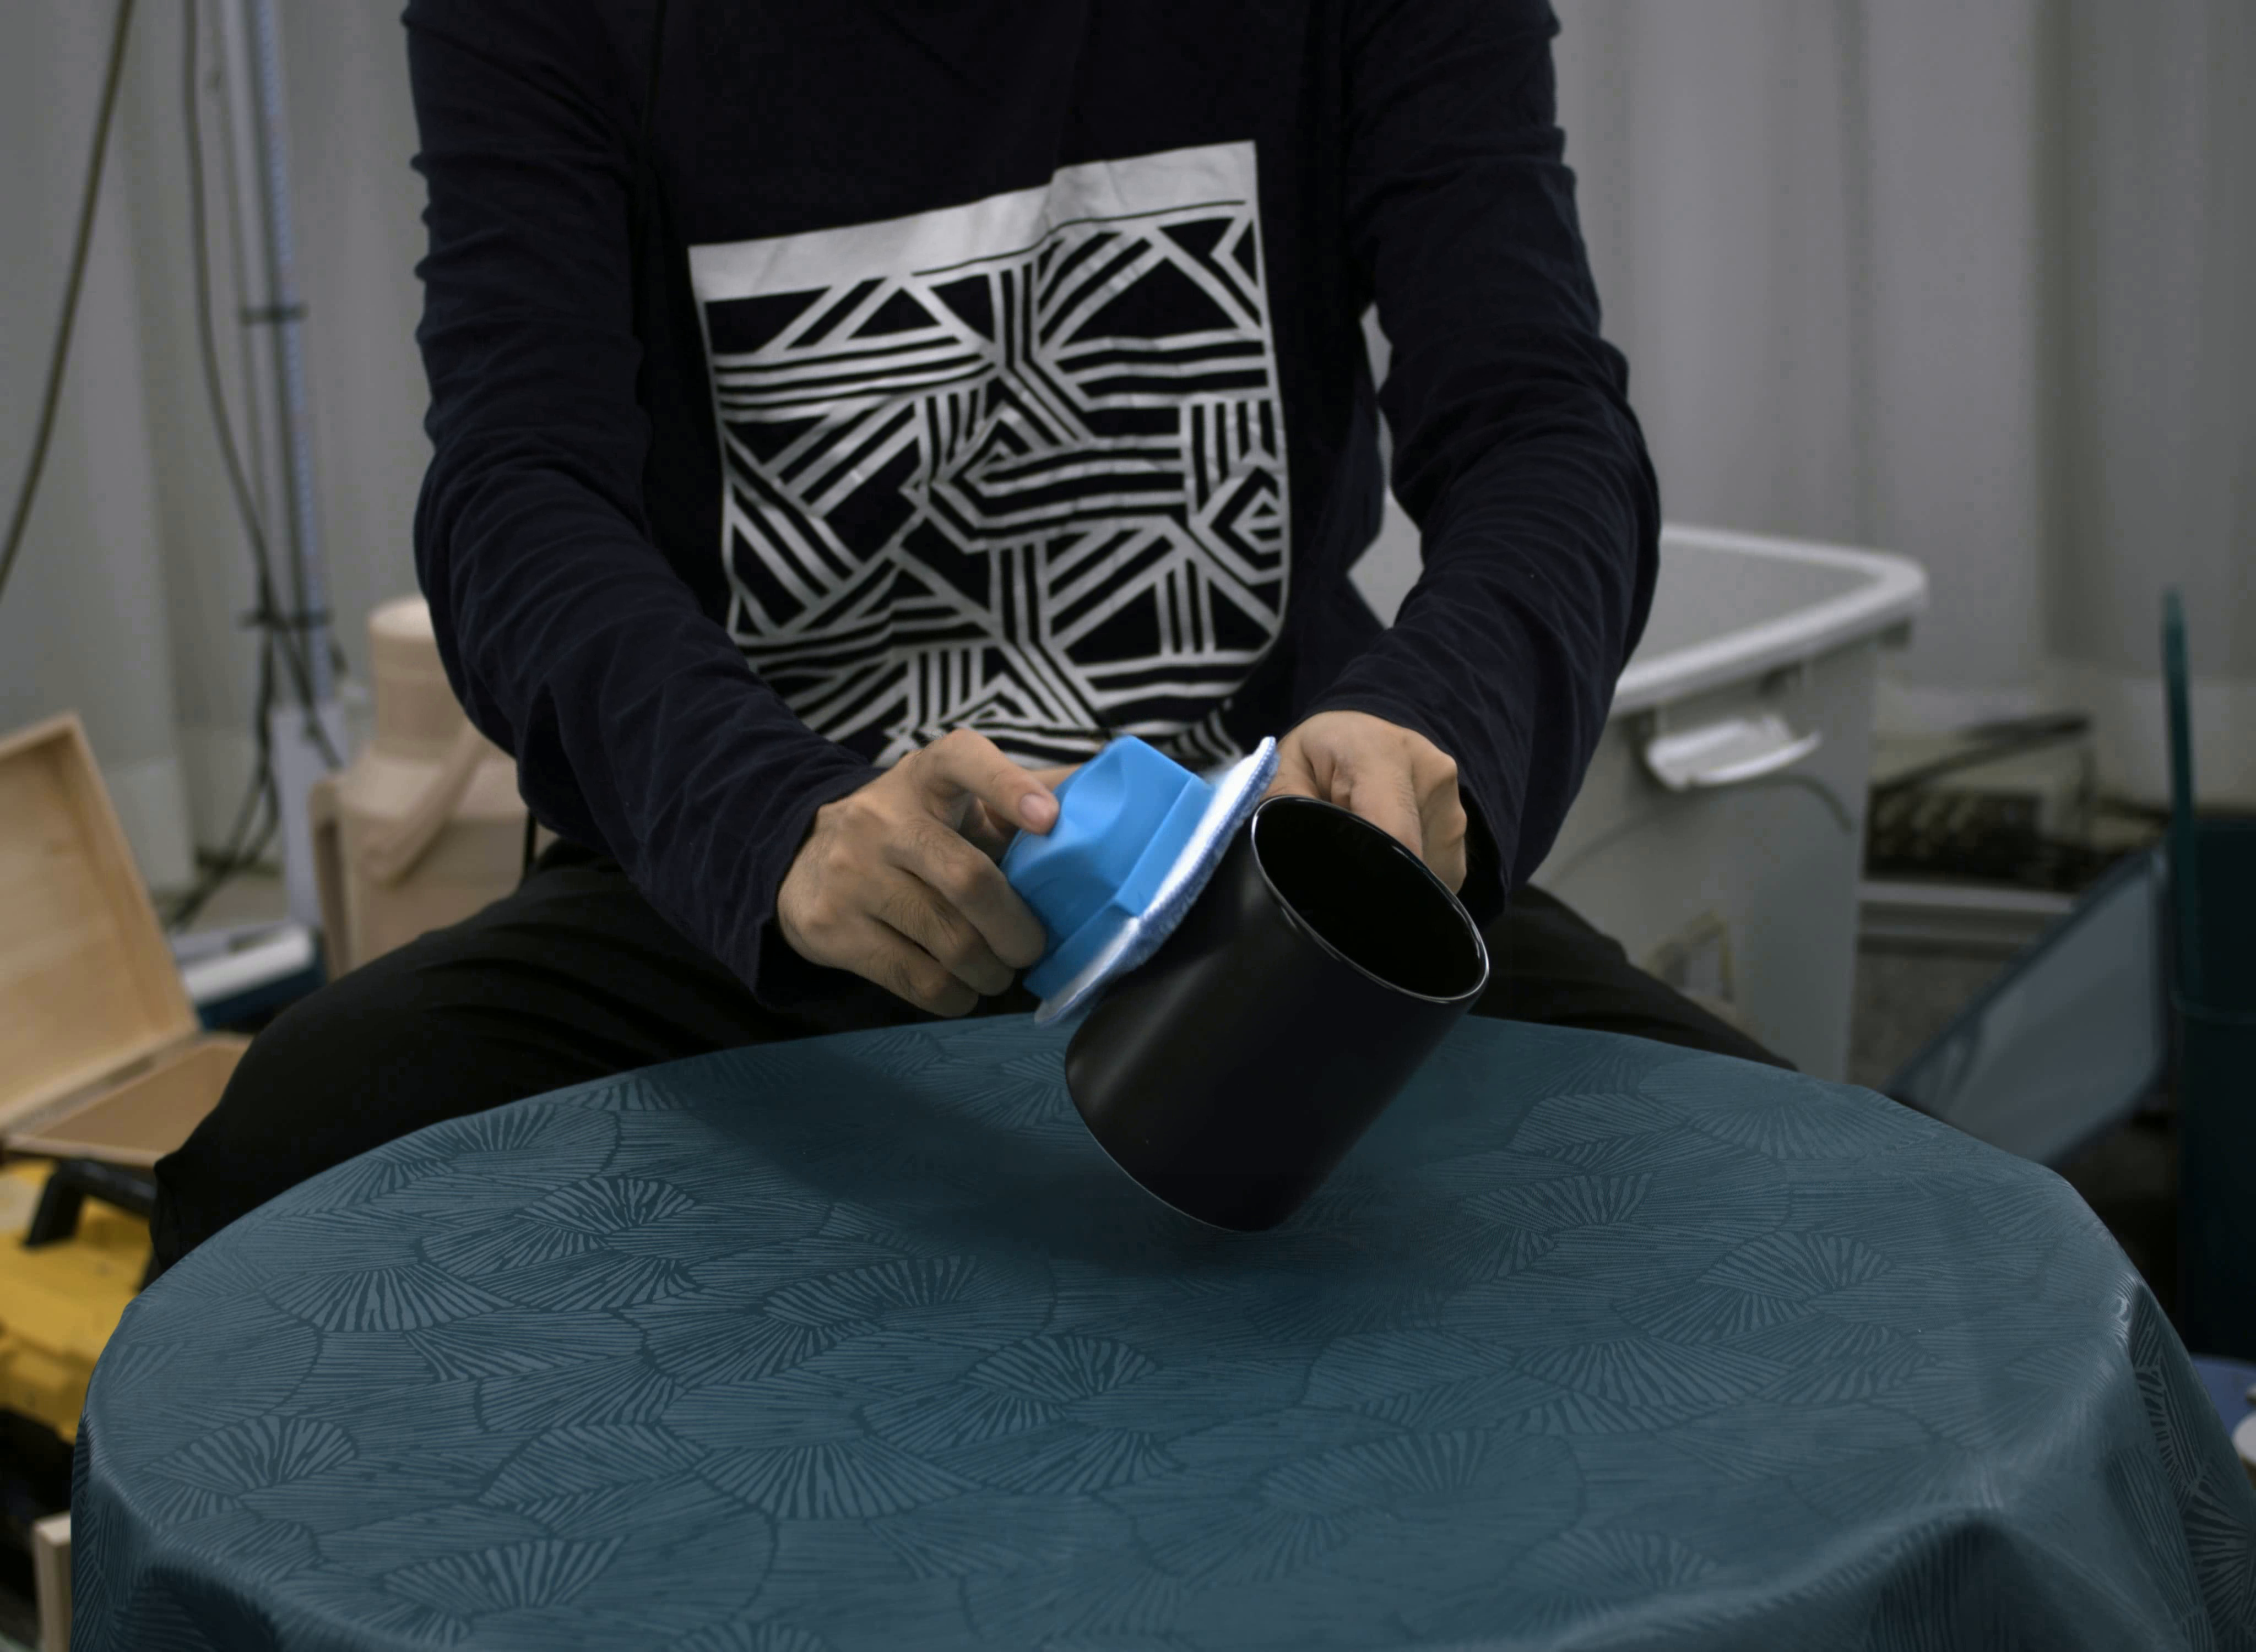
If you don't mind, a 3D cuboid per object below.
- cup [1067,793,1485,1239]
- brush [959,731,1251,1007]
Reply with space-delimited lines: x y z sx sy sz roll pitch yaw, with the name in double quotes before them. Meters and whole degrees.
"cup" 0.045 0.049 1.656 0.088 0.104 0.125 29 25 -10
"brush" -0.014 0.008 1.671 0.056 0.084 0.143 38 -17 -8
